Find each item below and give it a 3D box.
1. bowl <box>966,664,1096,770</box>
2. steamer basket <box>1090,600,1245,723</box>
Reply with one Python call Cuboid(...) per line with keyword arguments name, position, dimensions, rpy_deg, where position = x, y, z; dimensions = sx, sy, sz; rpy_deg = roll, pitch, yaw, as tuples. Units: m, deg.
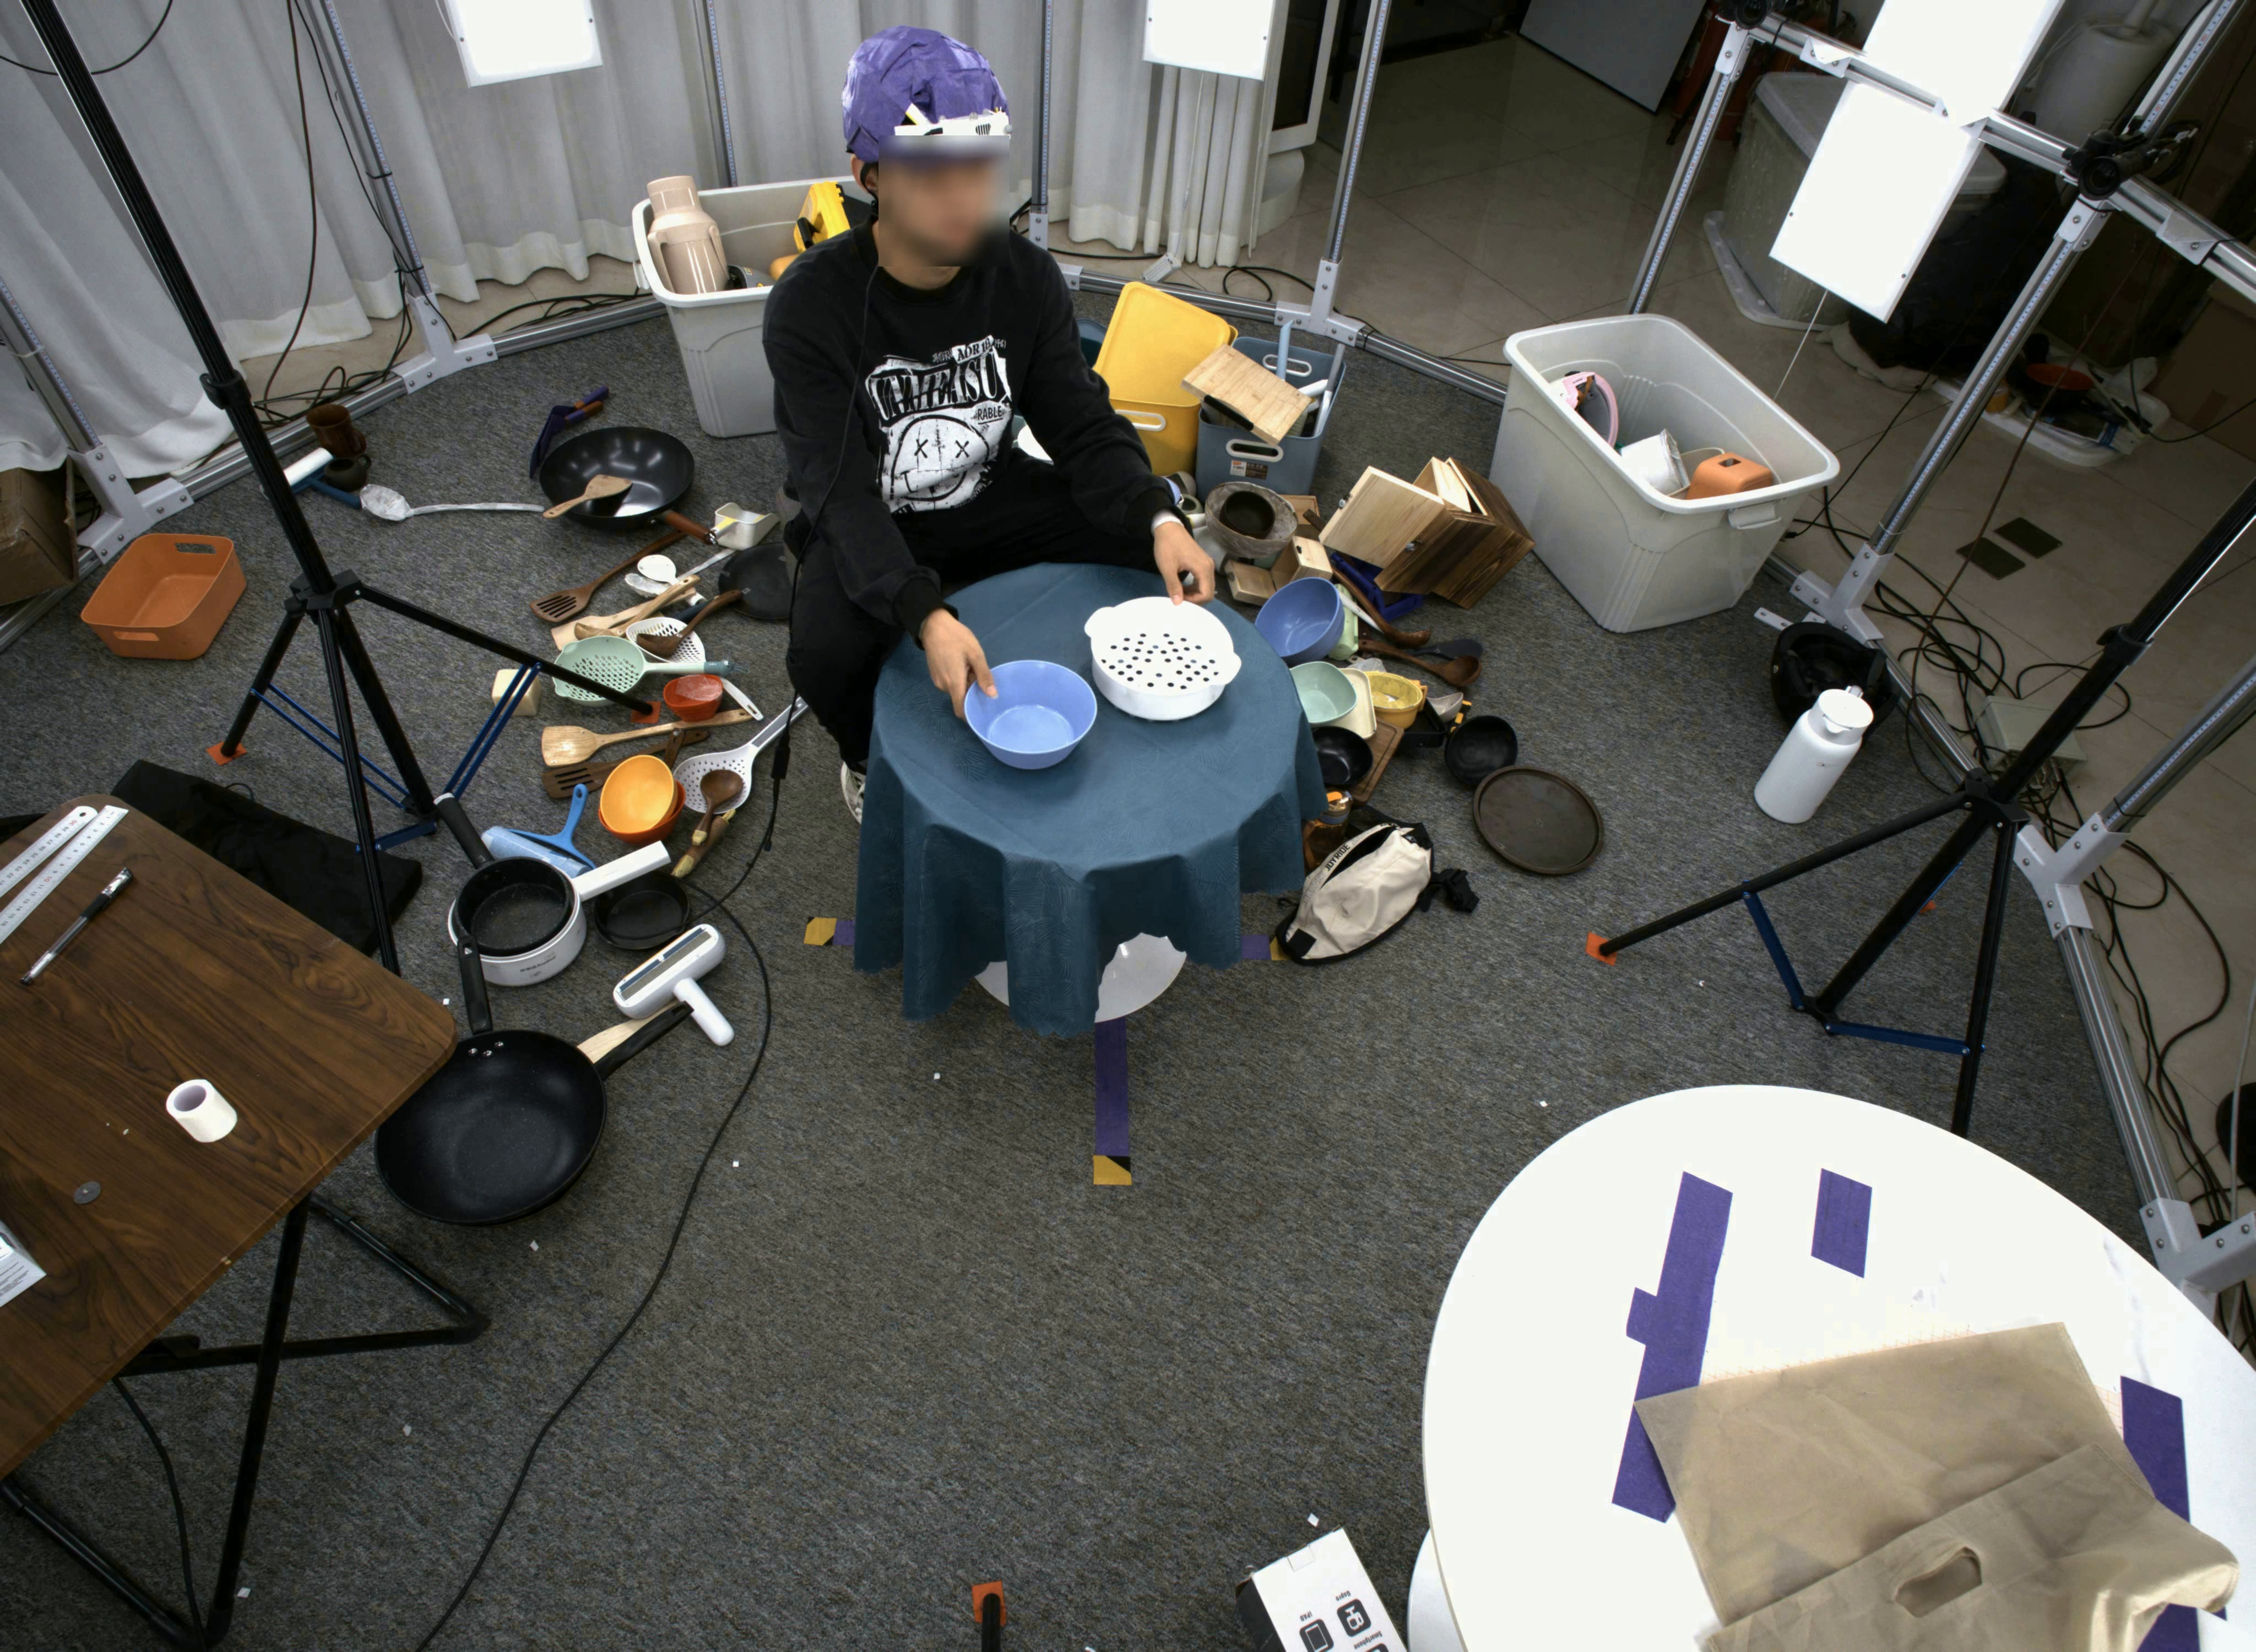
Cuboid(name="bowl", position=(-0.132, -0.140, 1.751), dimensions=(0.176, 0.068, 0.180), rpy_deg=(2, 48, -3))
Cuboid(name="steamer basket", position=(0.053, -0.236, 1.849), dimensions=(0.232, 0.067, 0.205), rpy_deg=(24, 51, 13))
